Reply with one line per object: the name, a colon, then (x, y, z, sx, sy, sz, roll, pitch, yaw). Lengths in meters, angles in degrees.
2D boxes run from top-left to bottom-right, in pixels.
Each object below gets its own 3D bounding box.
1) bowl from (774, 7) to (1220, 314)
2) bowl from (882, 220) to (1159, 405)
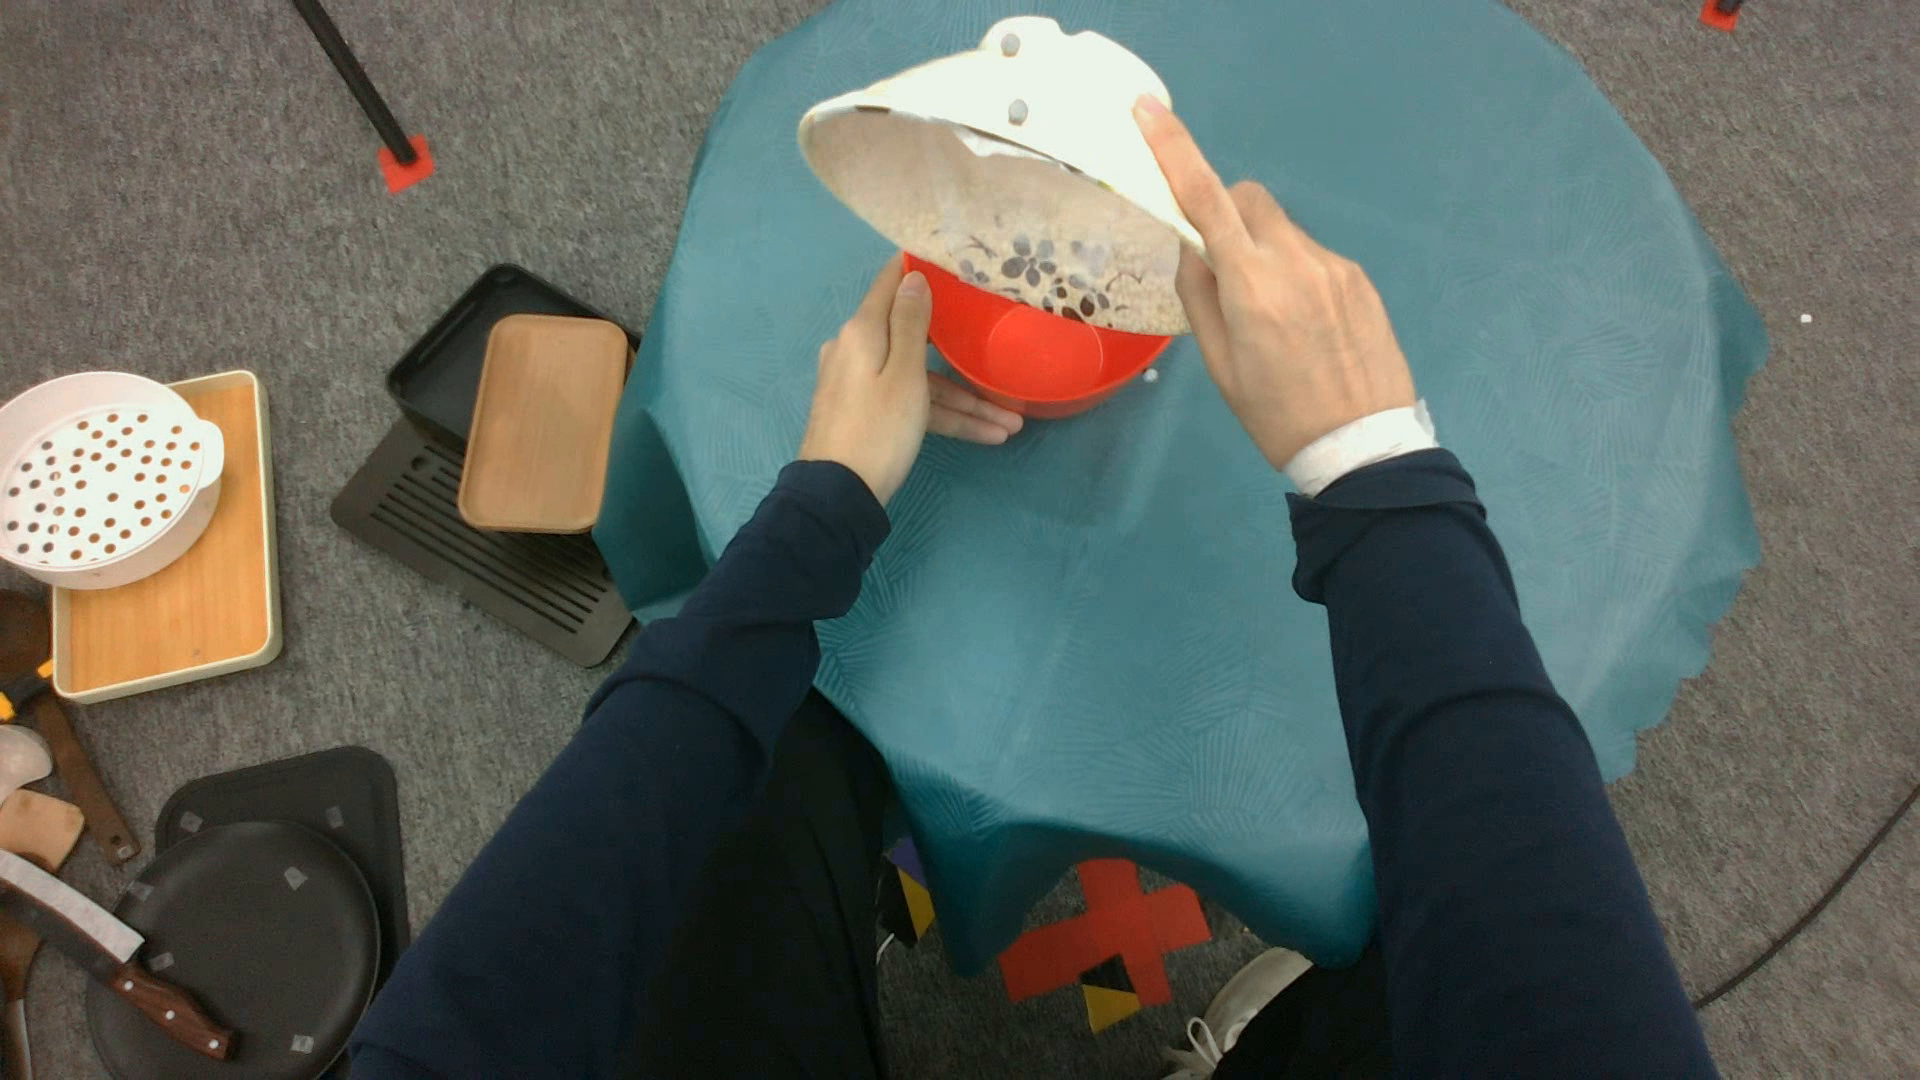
bowl: (0.027, -0.174, 0.602, 0.204, 0.204, 0.078, 19, 86, 5)
bowl: (0.035, -0.137, 0.728, 0.148, 0.104, 0.148, 0, 72, 0)
